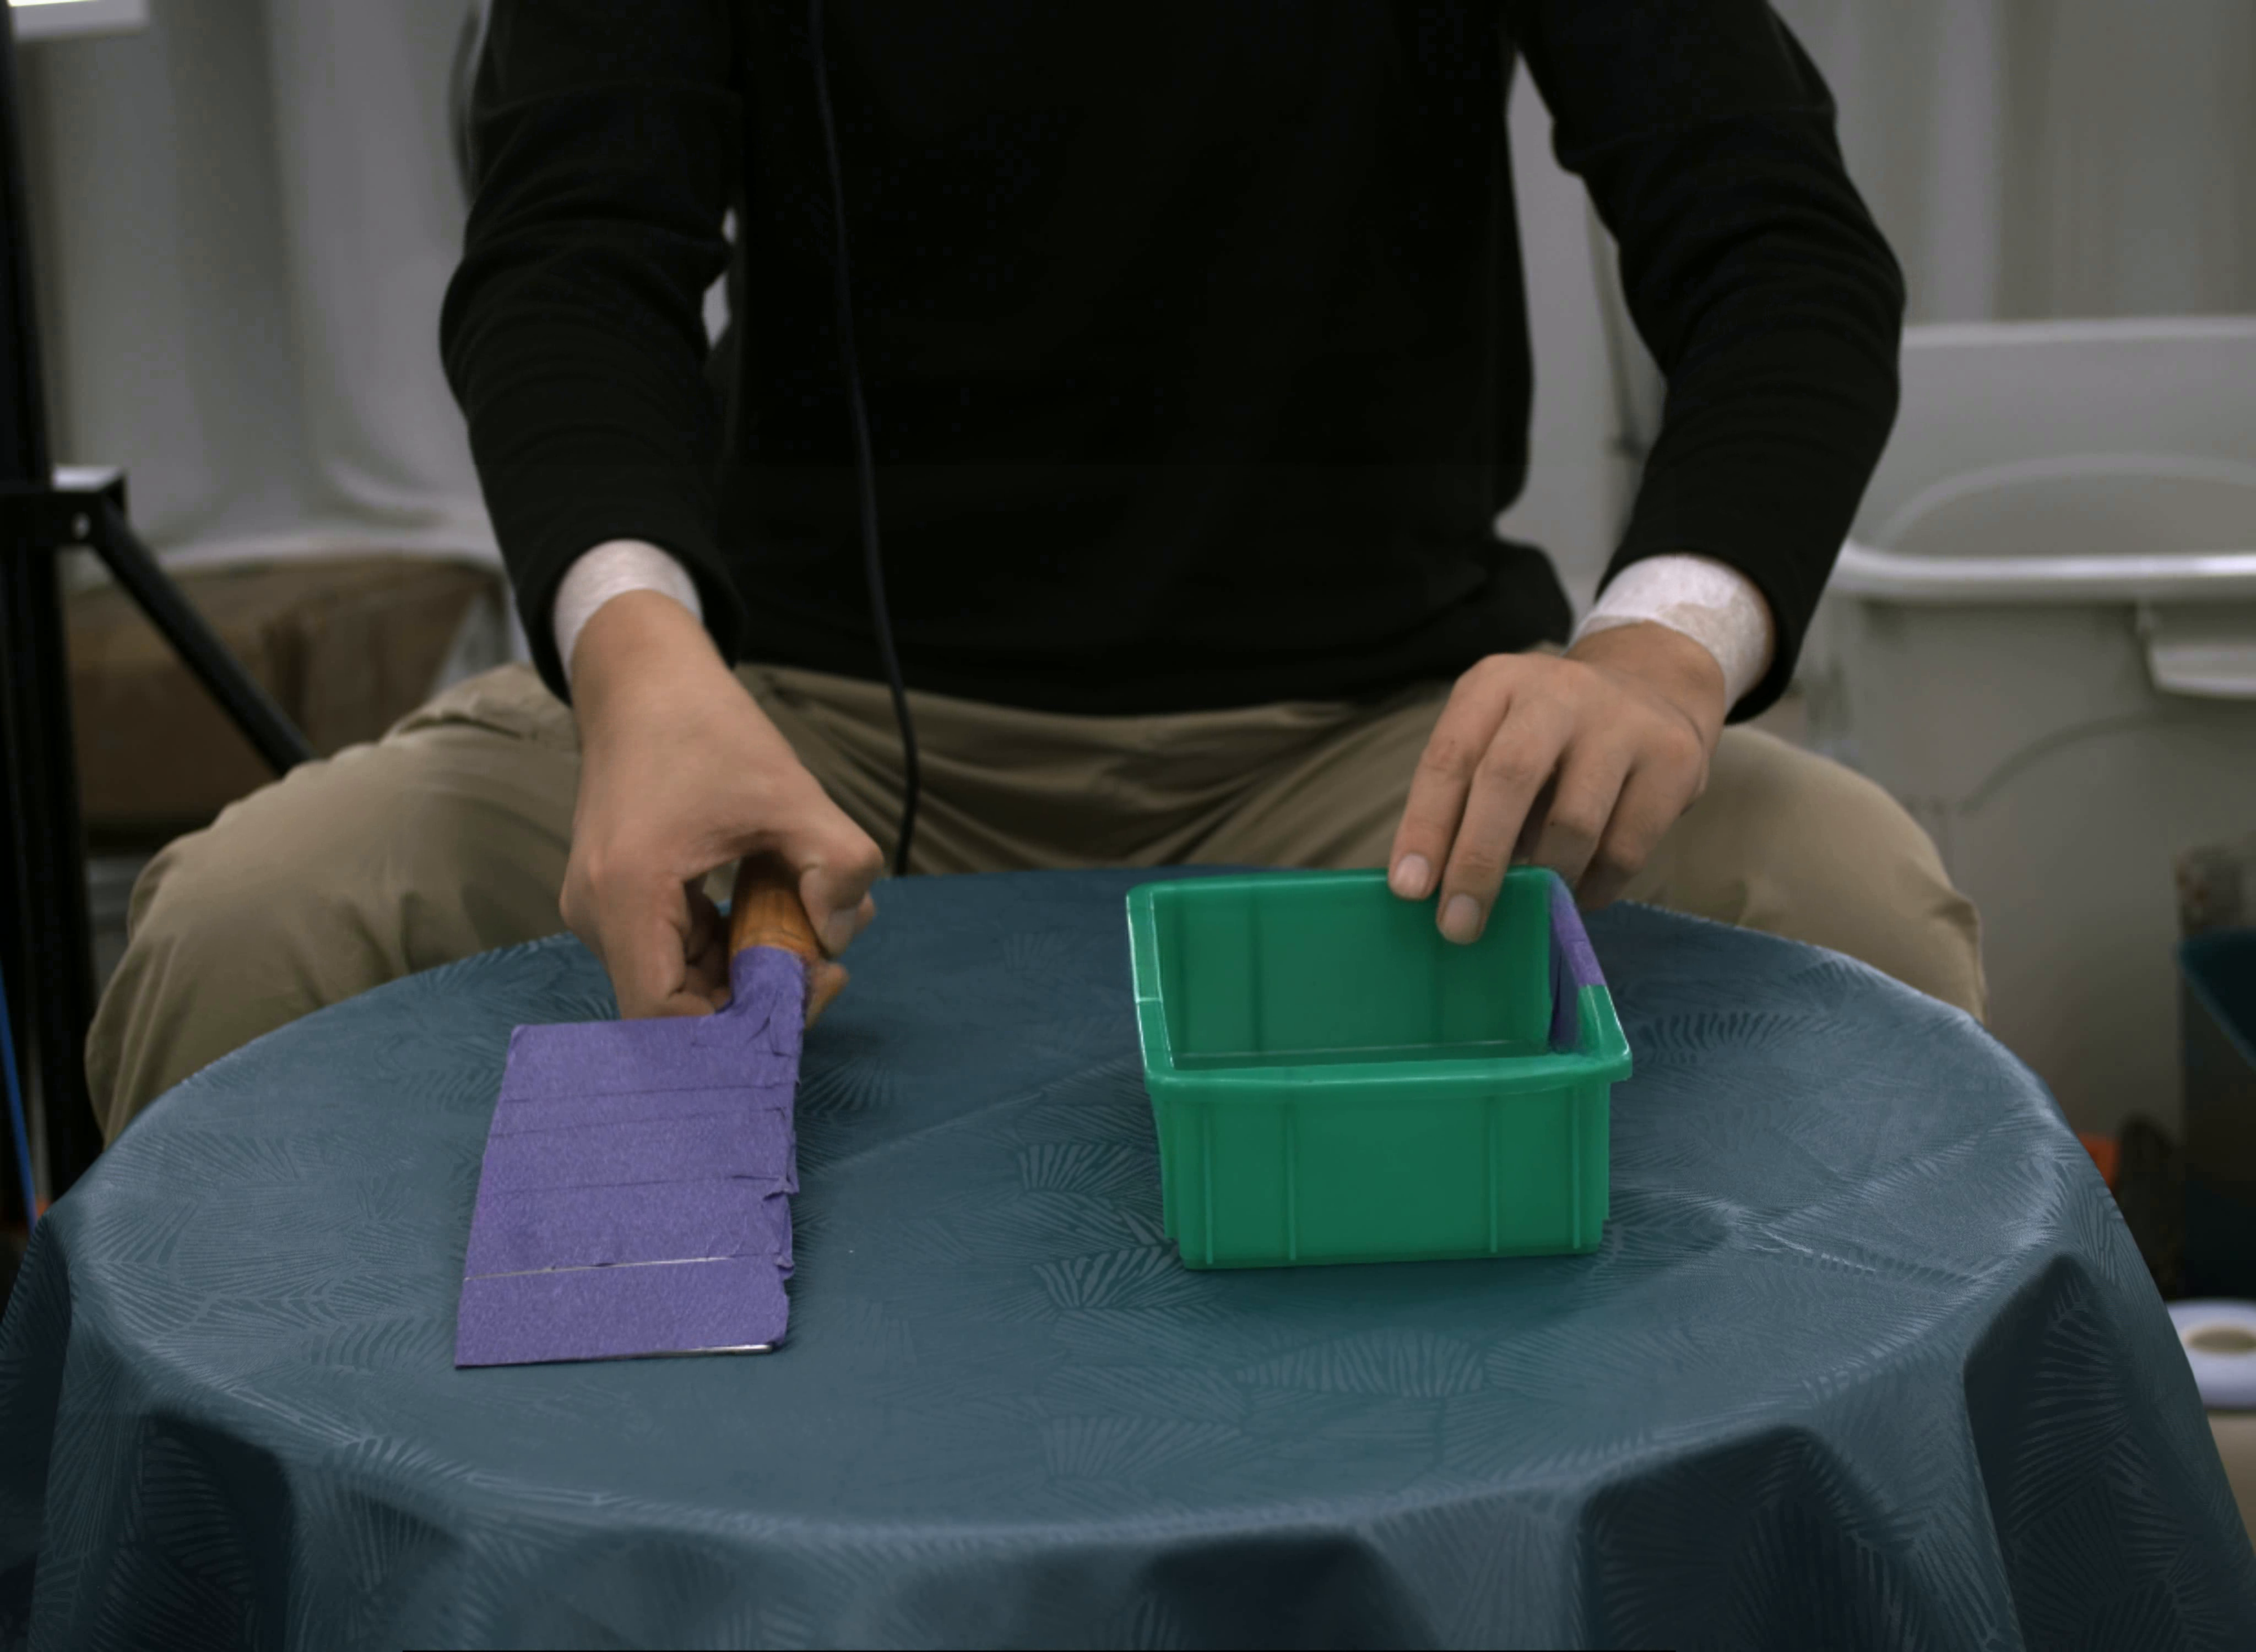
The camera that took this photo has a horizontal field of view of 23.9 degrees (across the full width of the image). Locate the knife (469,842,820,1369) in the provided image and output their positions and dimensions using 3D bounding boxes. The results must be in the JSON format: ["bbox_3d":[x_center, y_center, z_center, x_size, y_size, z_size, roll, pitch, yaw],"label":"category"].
[{"bbox_3d":[-0.140,0.078,1.584,0.103,0.032,0.317,-3,22,-1],"label":"knife"}]

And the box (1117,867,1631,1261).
[{"bbox_3d":[0.070,0.069,1.569,0.138,0.065,0.211,-2,14,-2],"label":"box"}]
